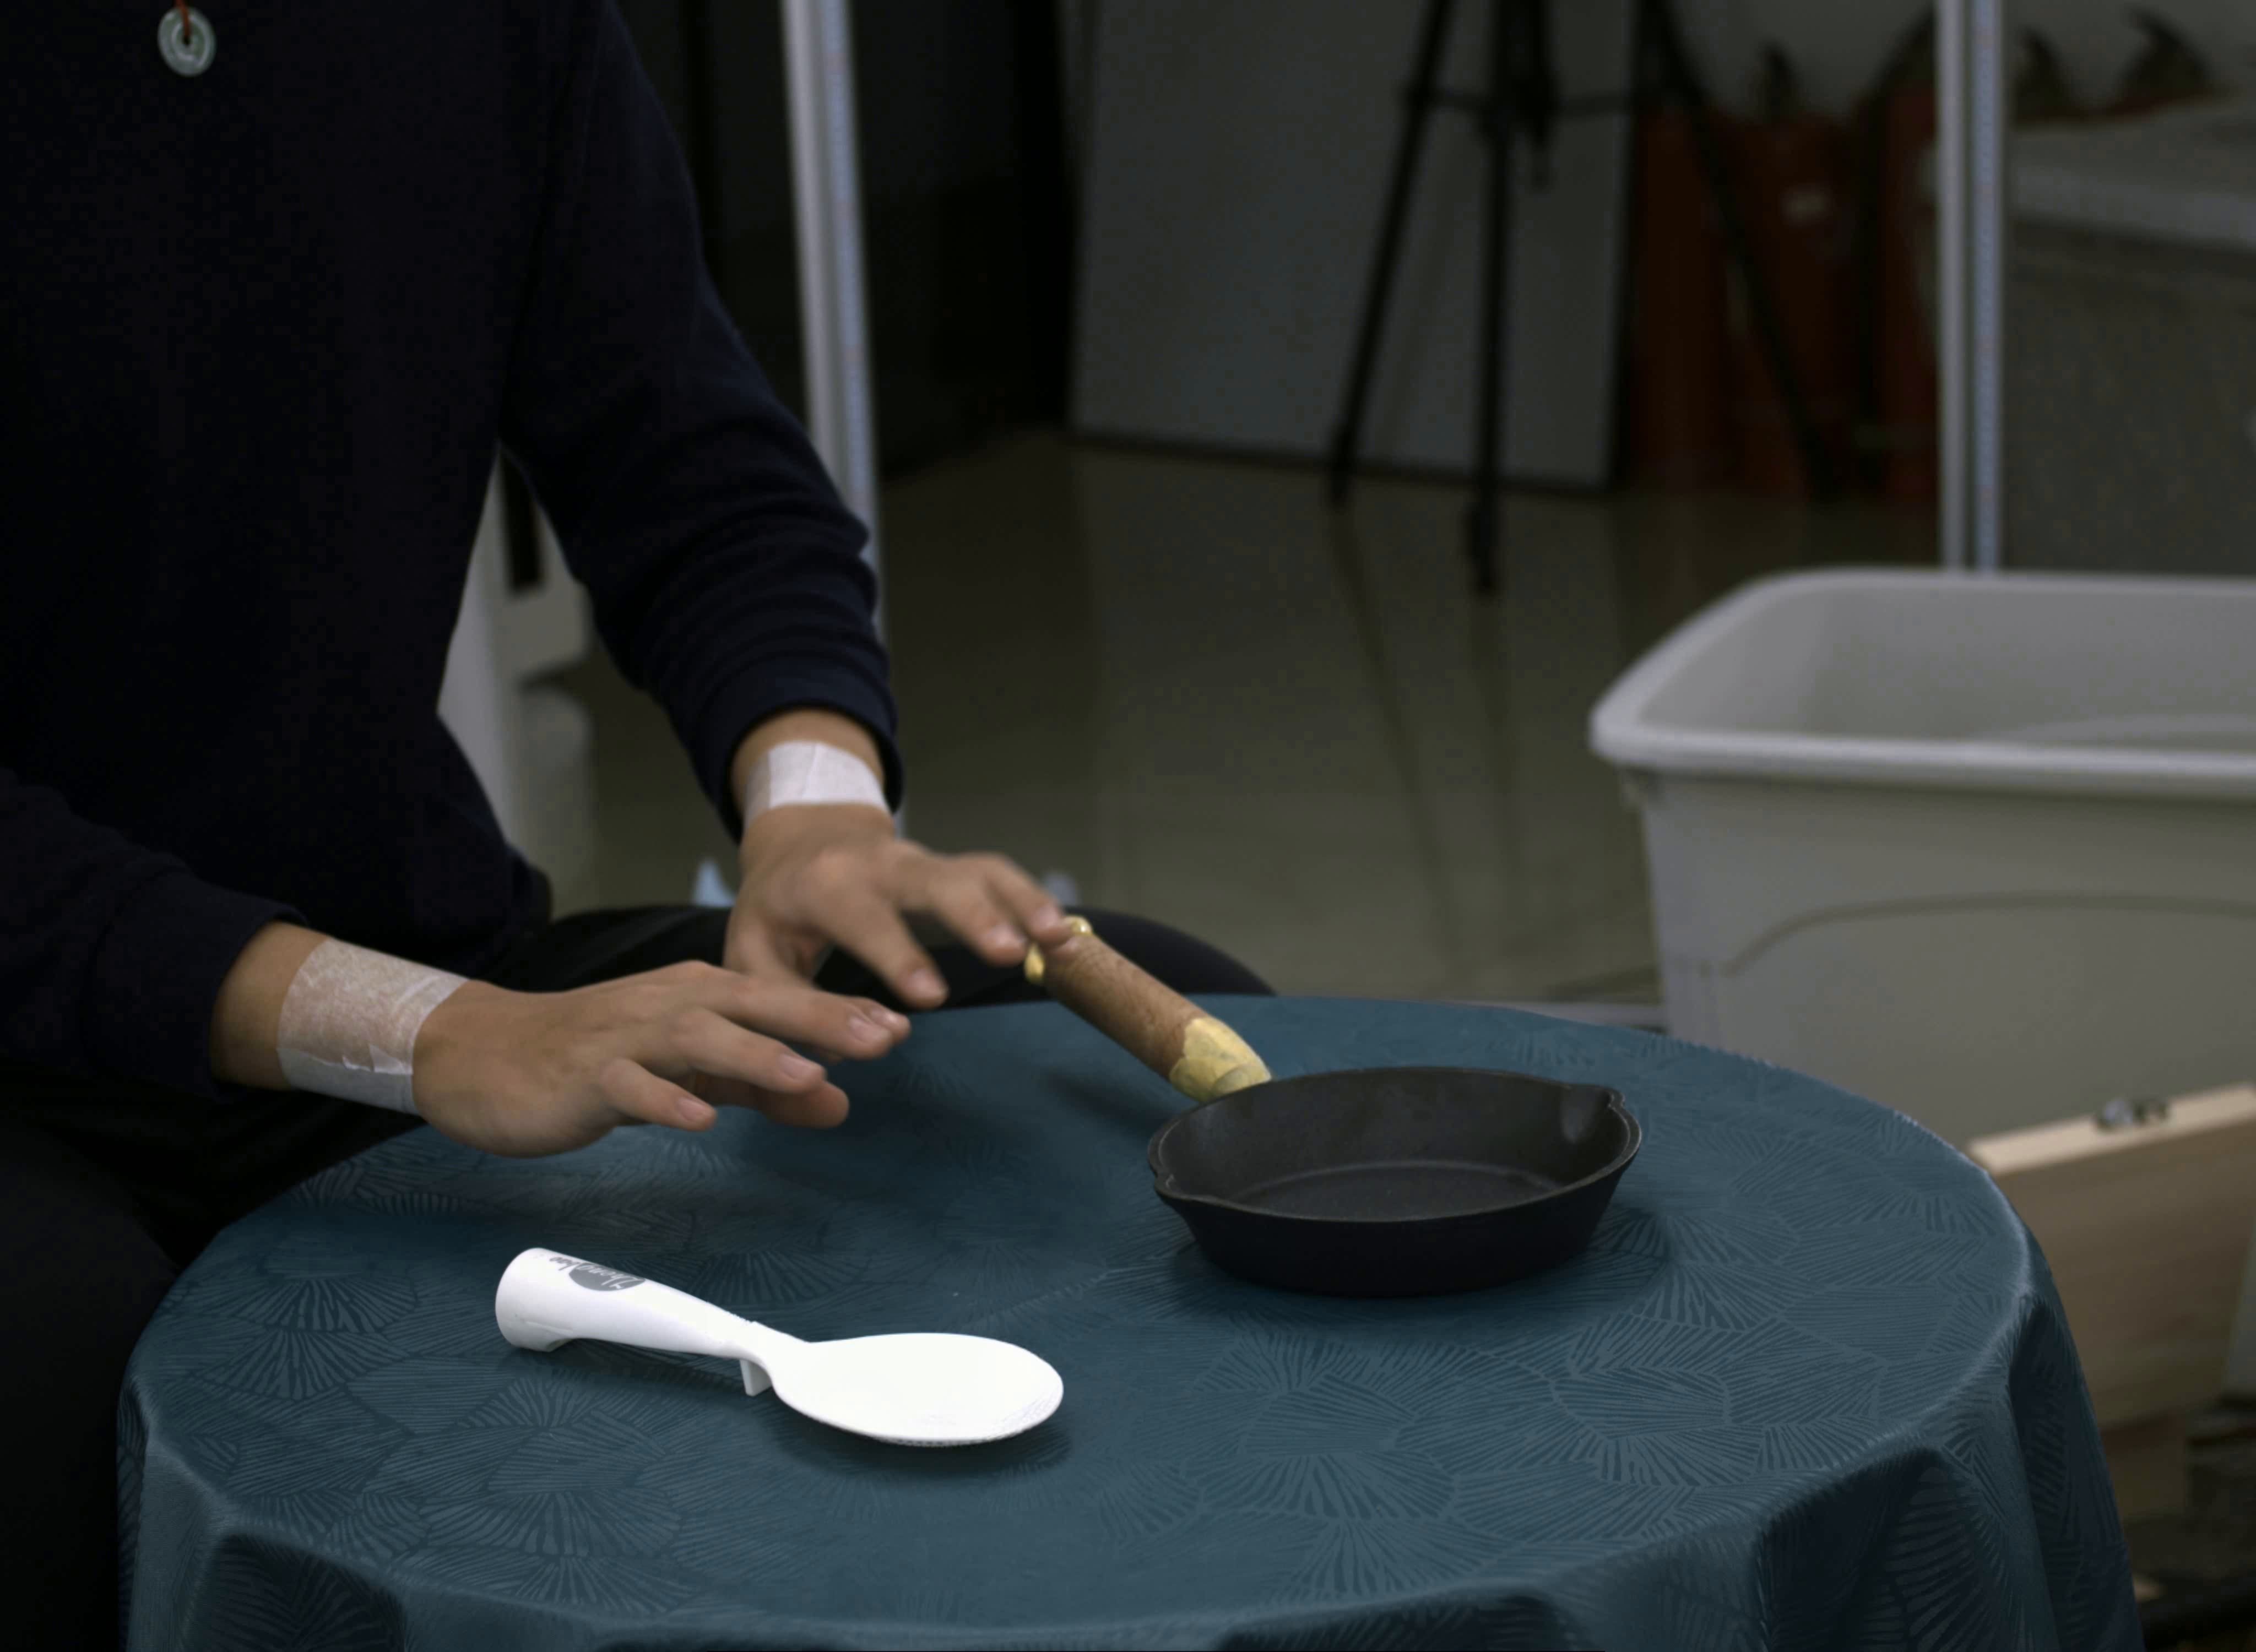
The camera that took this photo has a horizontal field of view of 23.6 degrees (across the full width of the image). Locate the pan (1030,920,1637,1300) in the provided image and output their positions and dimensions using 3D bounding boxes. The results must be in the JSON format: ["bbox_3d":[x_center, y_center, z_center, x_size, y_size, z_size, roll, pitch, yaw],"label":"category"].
[{"bbox_3d":[0.047,0.090,1.778,0.165,0.050,0.327,-10,17,-24],"label":"pan"}]

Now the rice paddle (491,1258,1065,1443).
[{"bbox_3d":[-0.104,0.156,1.600,0.207,0.030,0.067,6,21,38],"label":"rice paddle"}]
